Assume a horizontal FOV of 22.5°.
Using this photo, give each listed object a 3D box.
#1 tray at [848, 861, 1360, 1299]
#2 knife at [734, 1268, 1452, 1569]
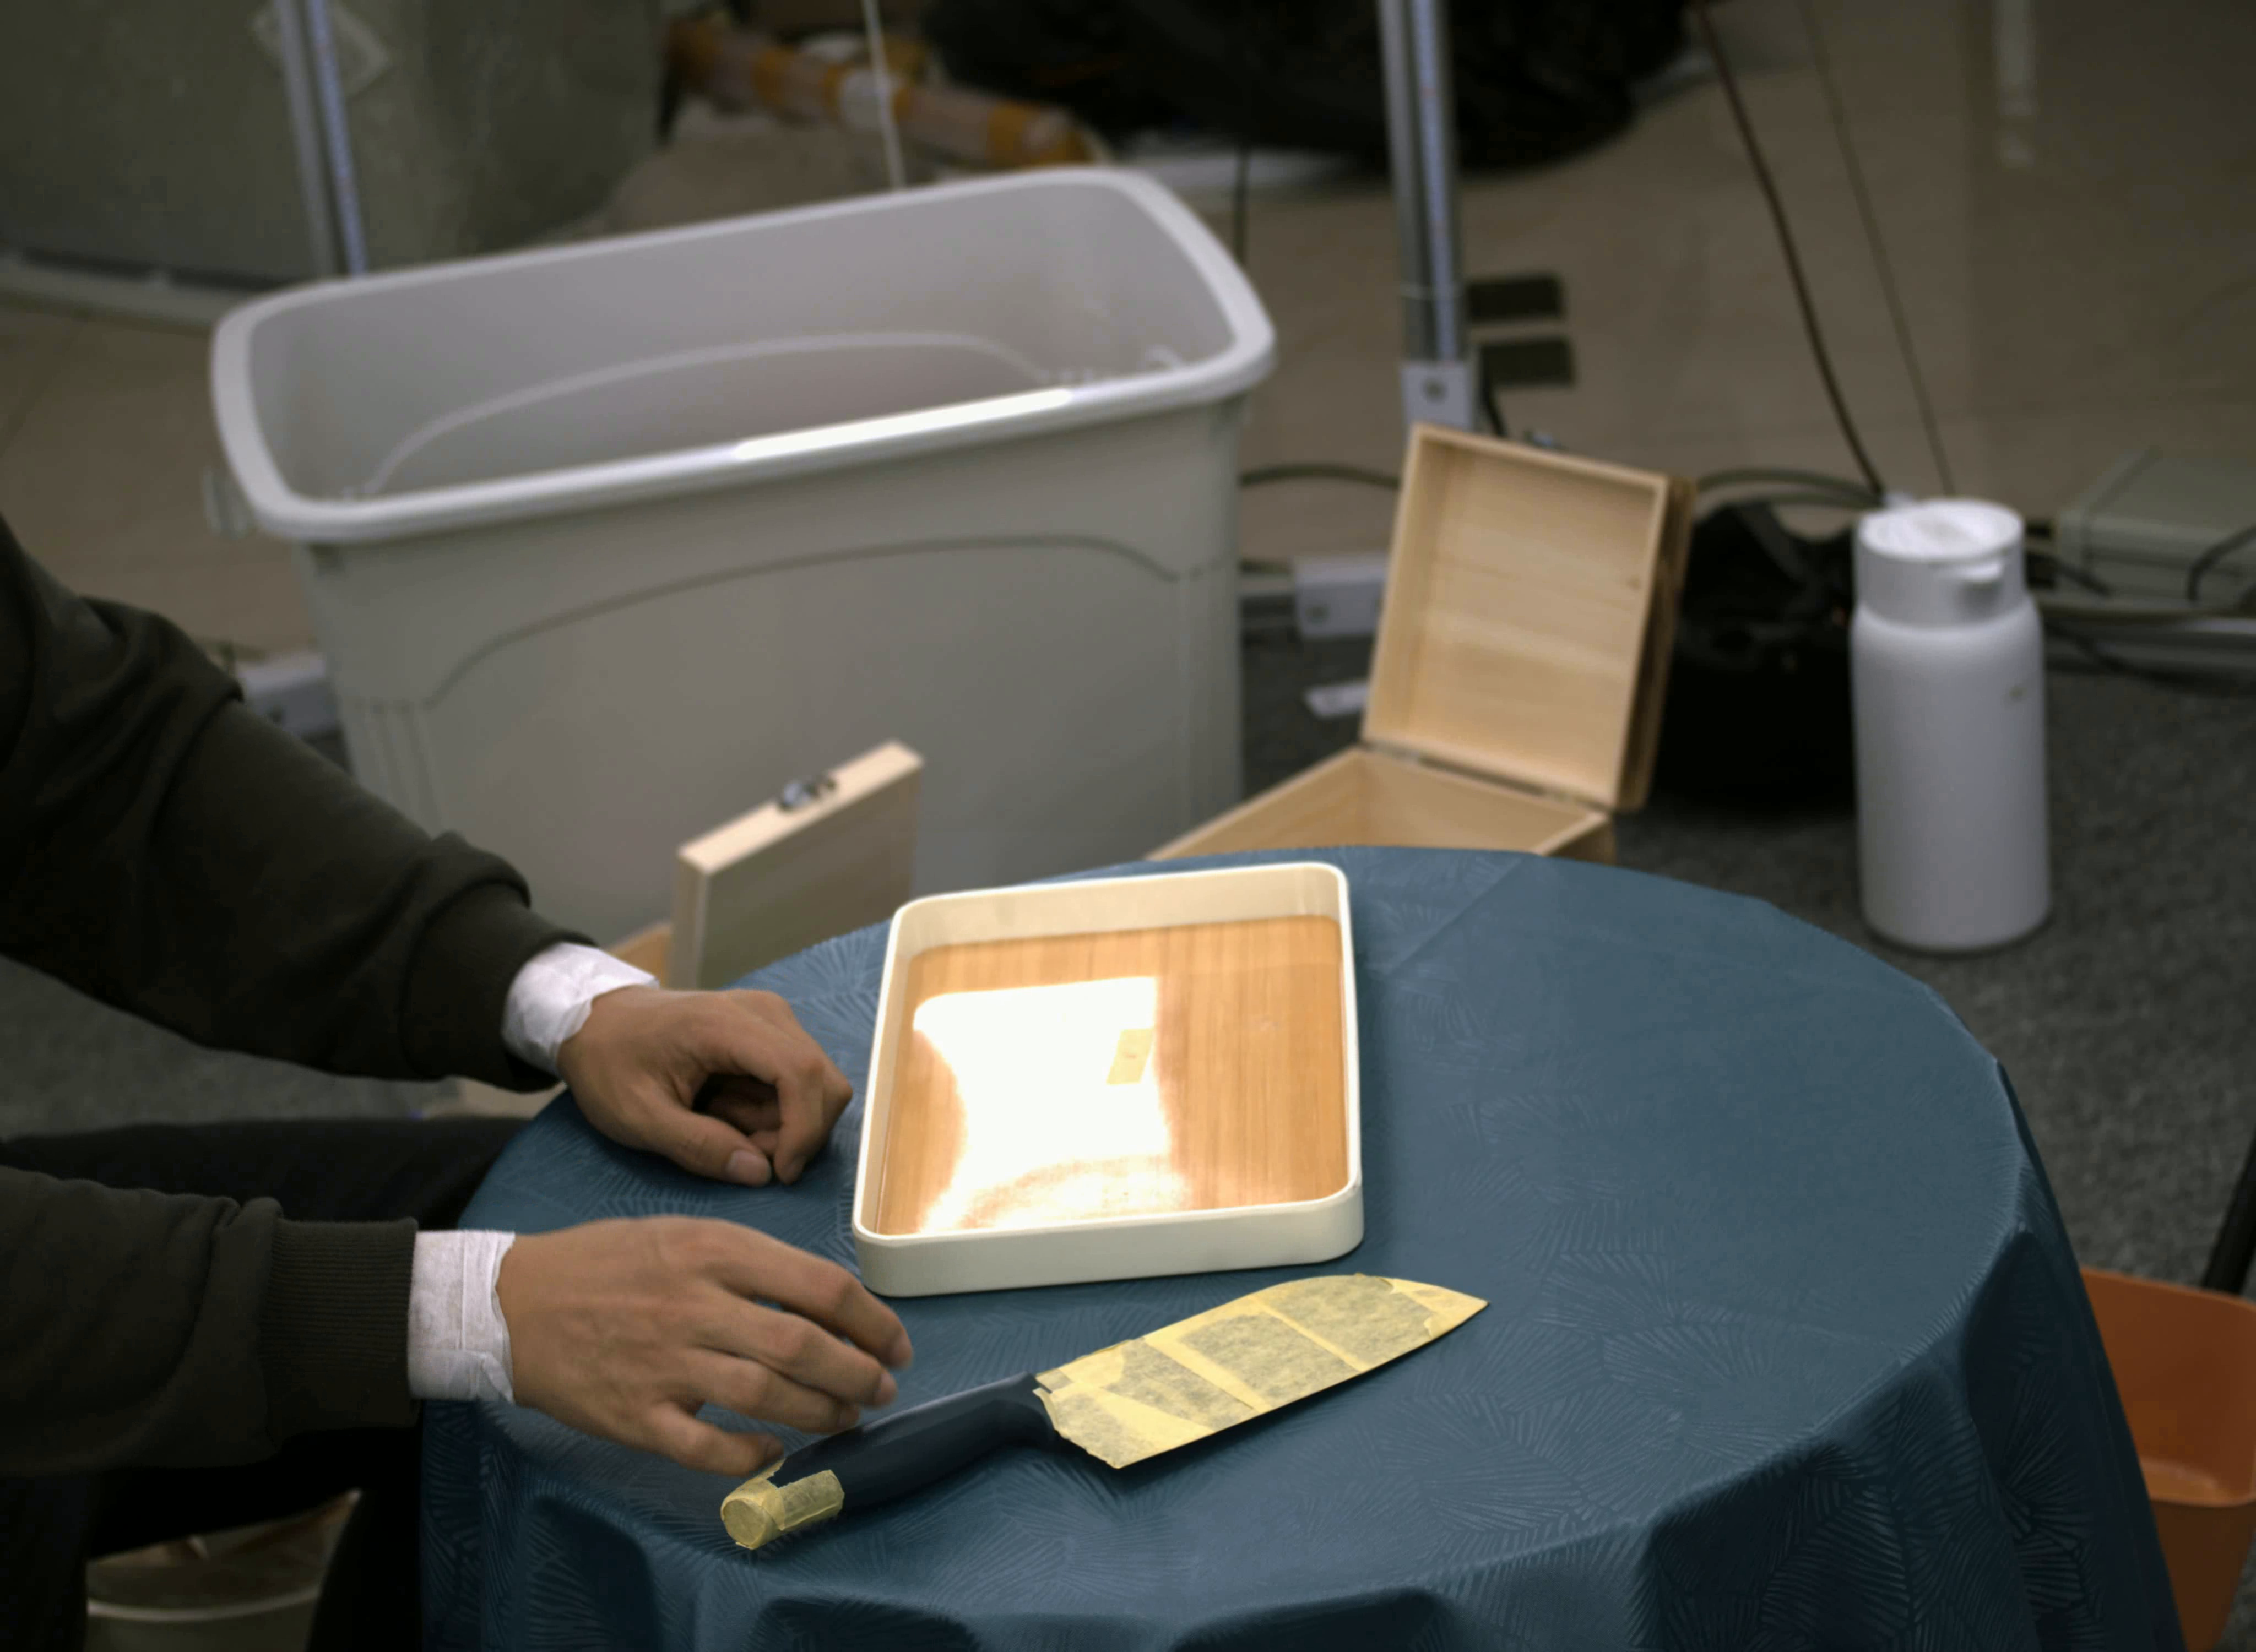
[{"bbox_3d":[-0.006,0.095,2.216,0.191,0.028,0.296,-6,24,4],"label":"tray"},{"bbox_3d":[-0.006,0.205,1.992,0.288,0.027,0.080,-19,26,-27],"label":"knife"}]
